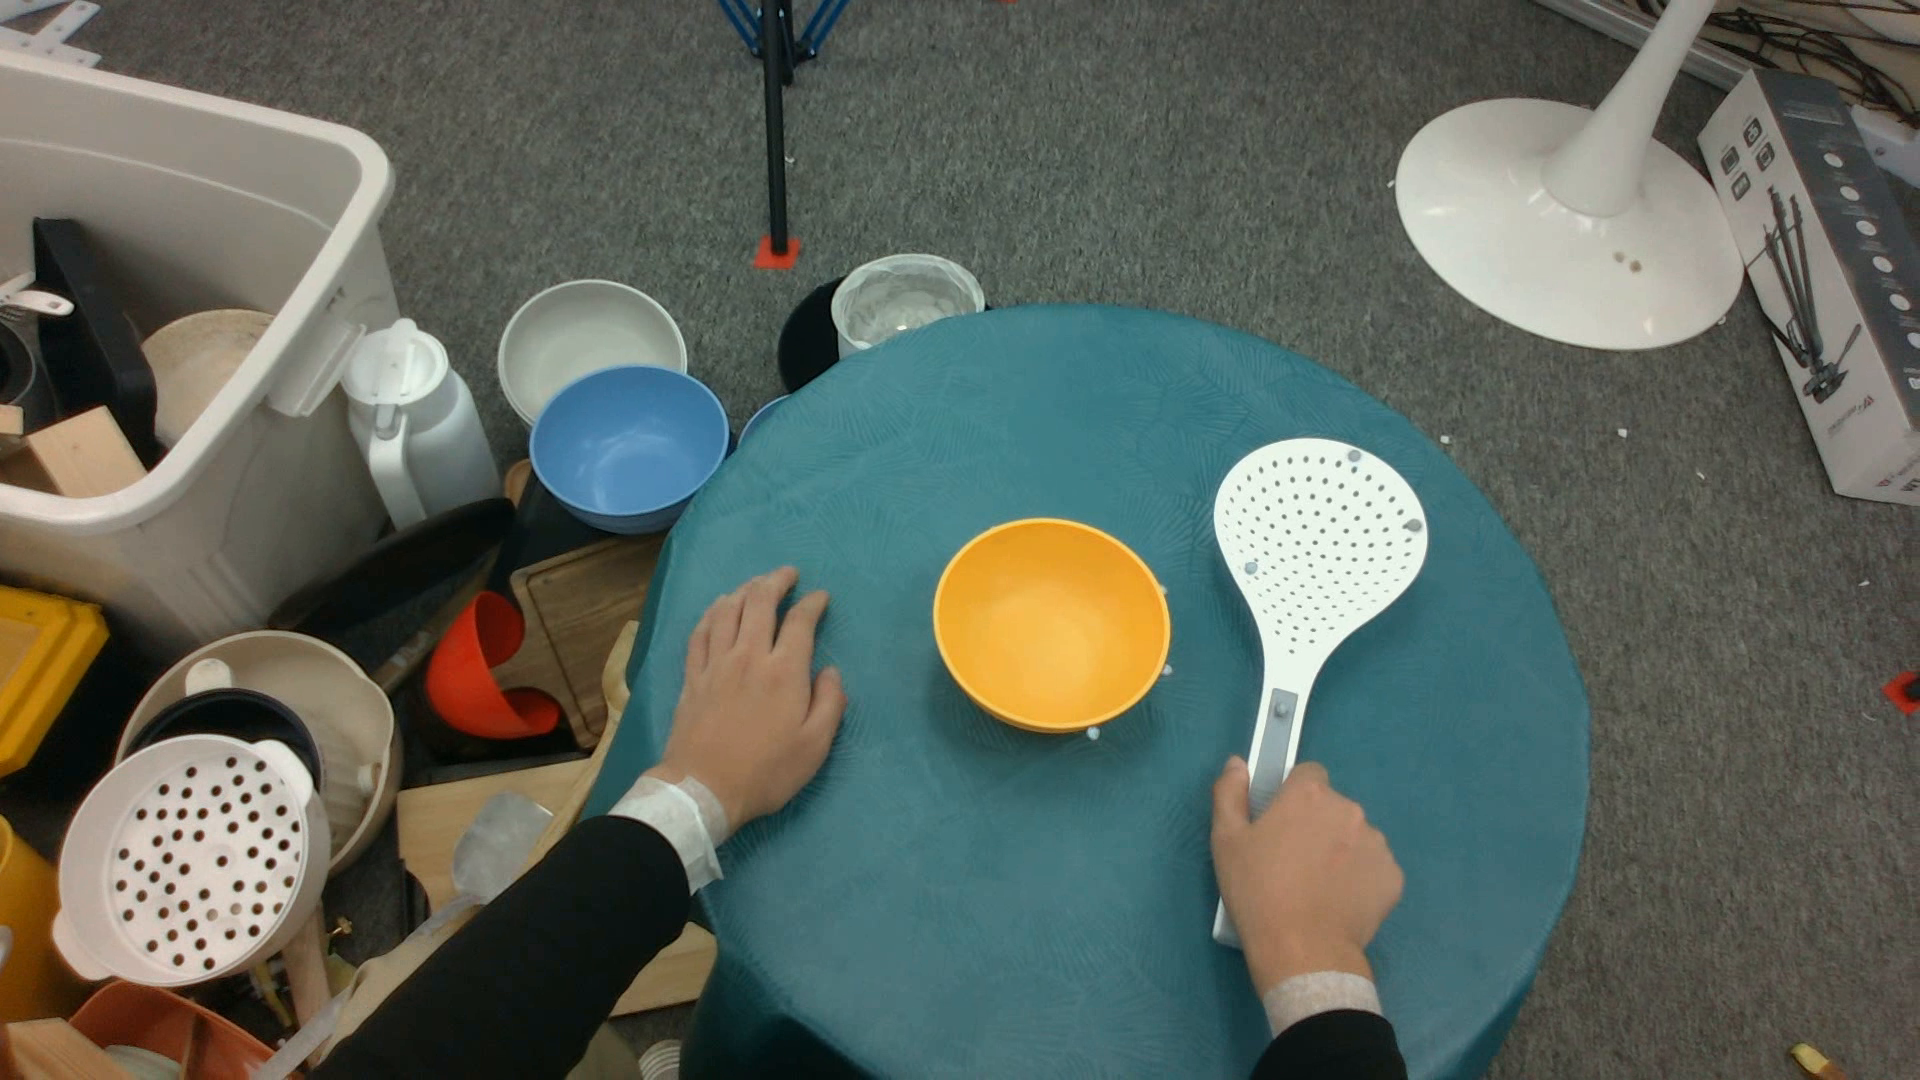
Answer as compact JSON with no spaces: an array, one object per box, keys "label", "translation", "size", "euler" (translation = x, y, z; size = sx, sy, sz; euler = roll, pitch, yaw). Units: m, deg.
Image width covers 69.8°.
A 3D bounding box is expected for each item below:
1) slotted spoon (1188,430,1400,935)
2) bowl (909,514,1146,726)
[{"label":"slotted spoon","translation":[0.190,0.075,0.854],"size":[0.136,0.045,0.351],"euler":[14,54,8]},{"label":"bowl","translation":[0.039,0.058,0.849],"size":[0.145,0.060,0.146],"euler":[3,55,-4]}]
